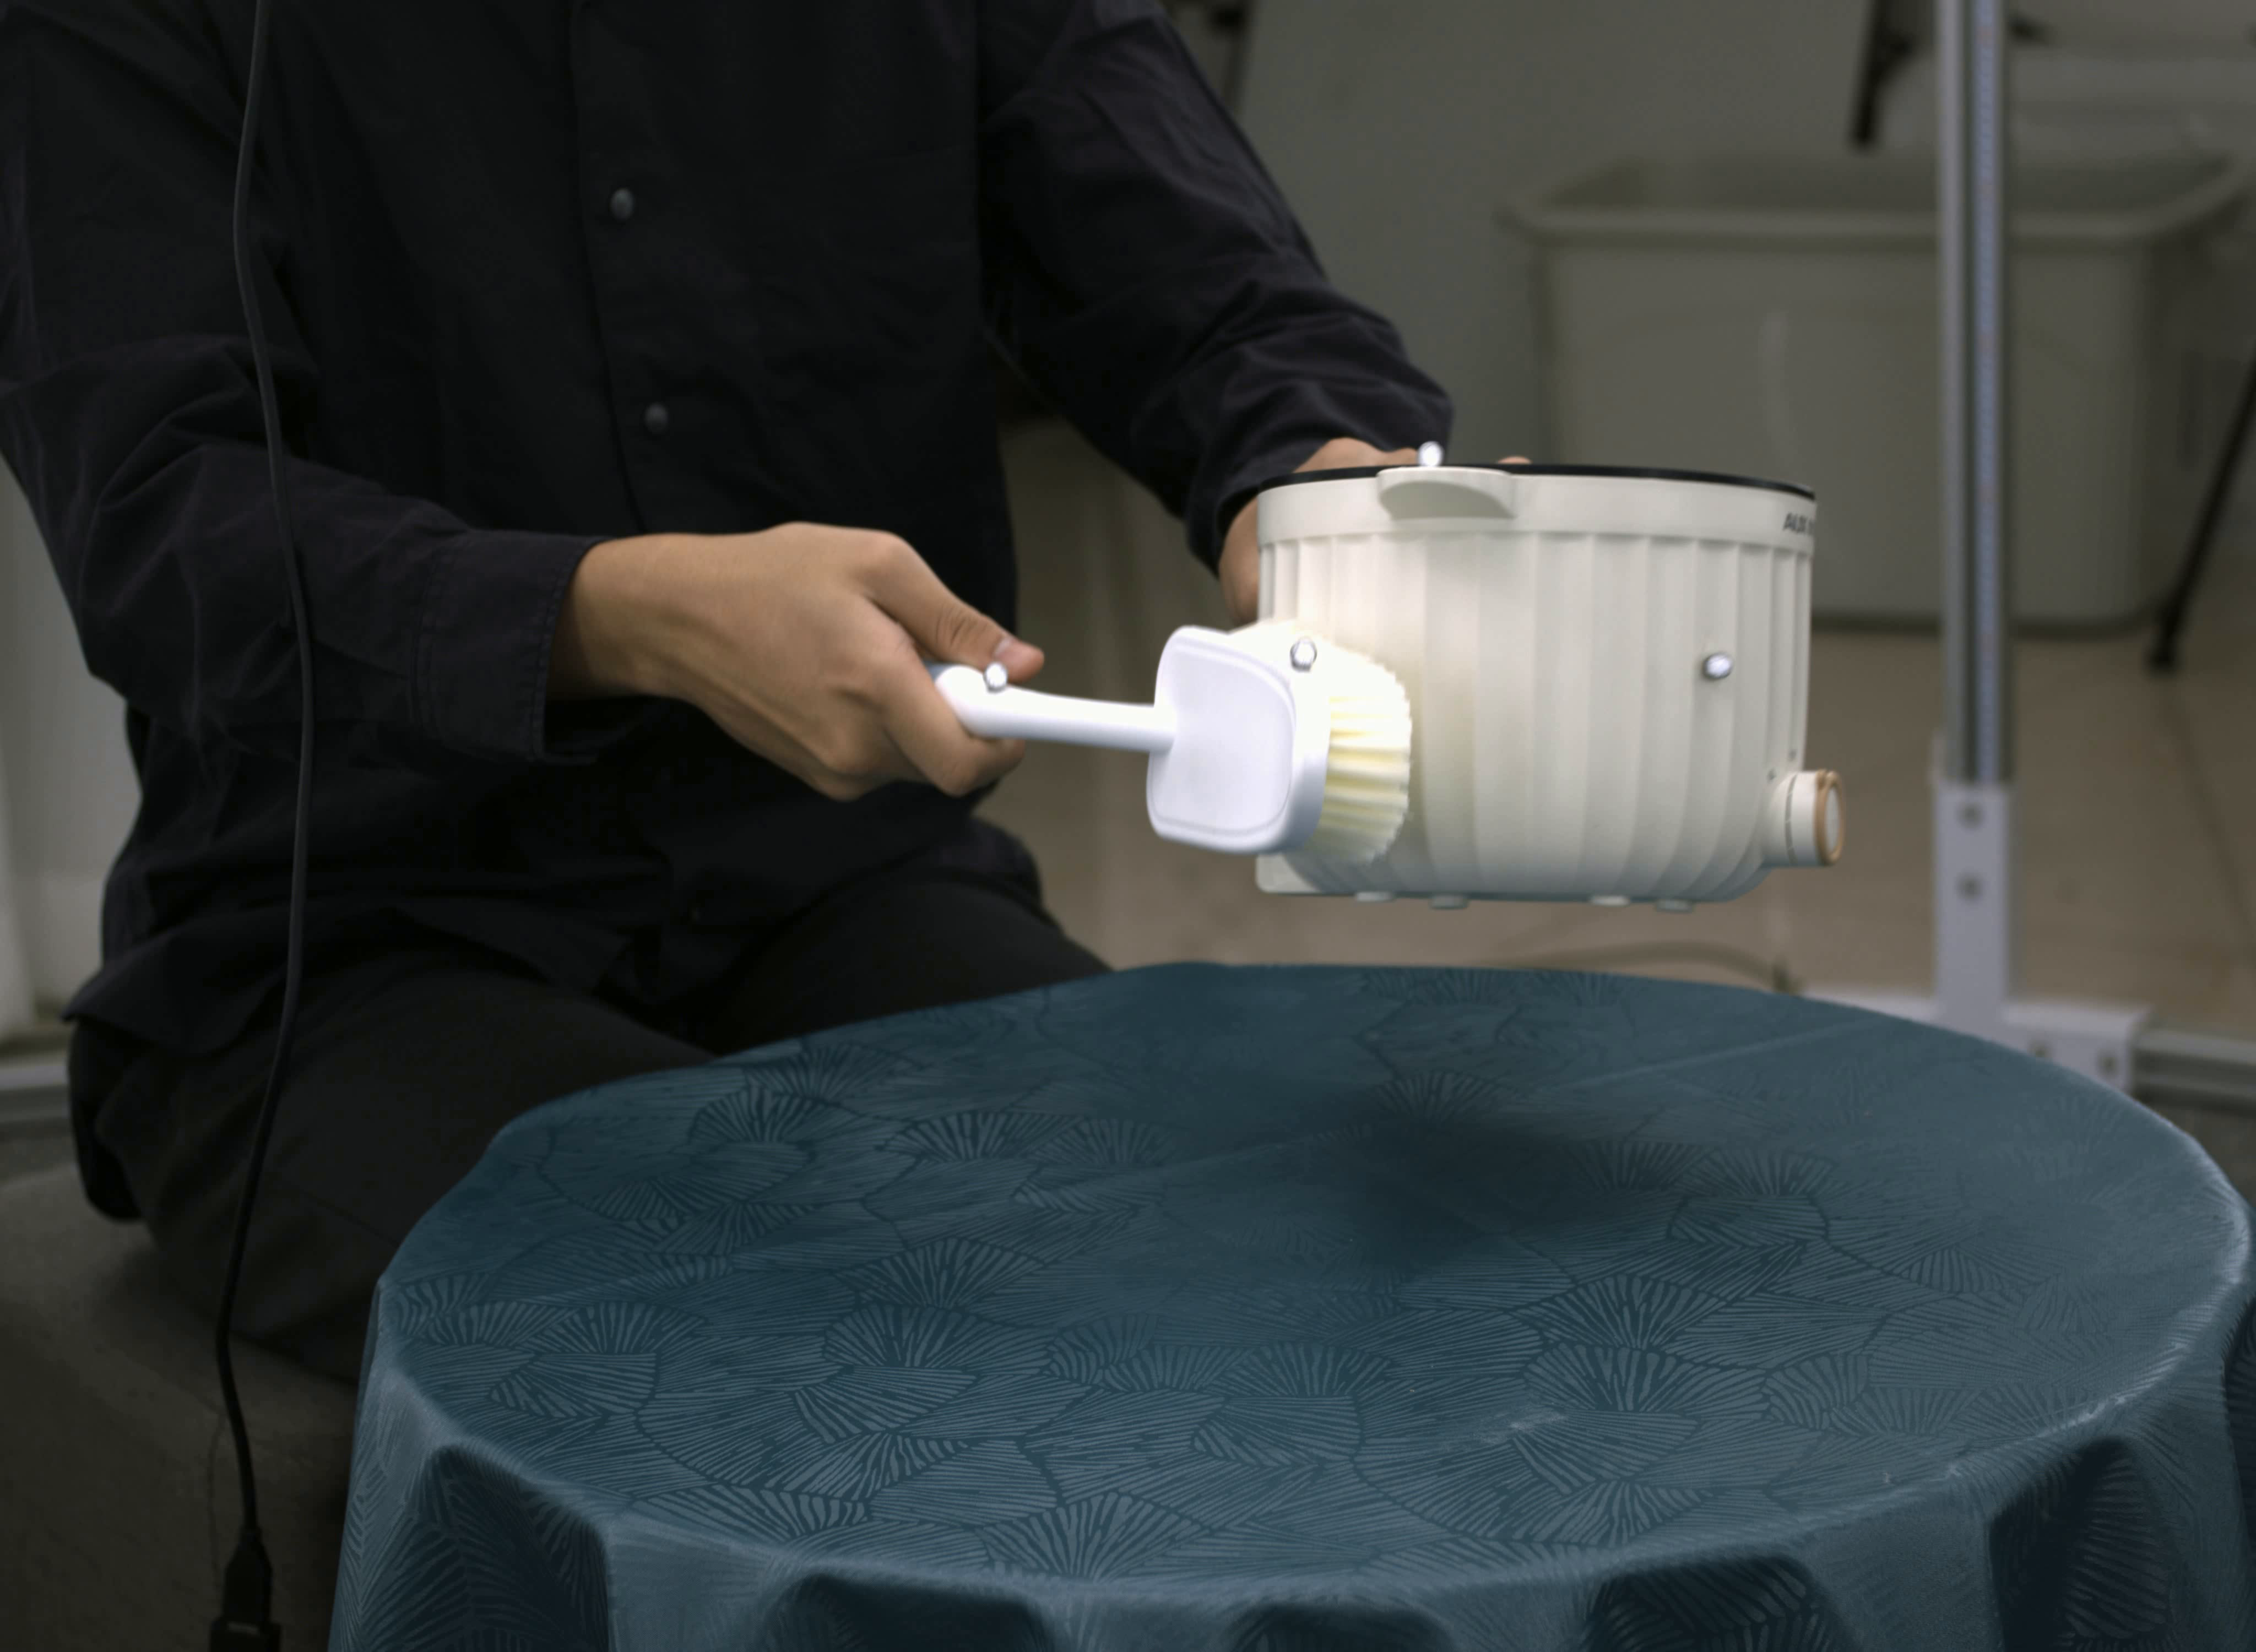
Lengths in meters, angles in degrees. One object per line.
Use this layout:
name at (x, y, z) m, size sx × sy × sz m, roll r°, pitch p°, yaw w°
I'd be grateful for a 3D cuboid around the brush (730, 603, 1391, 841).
brush at (-0.011, -0.045, 1.743) m, size 0.329 × 0.083 × 0.083 m, roll 11°, pitch 61°, yaw 55°

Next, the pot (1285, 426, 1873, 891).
pot at (0.146, -0.051, 1.748) m, size 0.190 × 0.144 × 0.237 m, roll -3°, pitch -3°, yaw 20°
